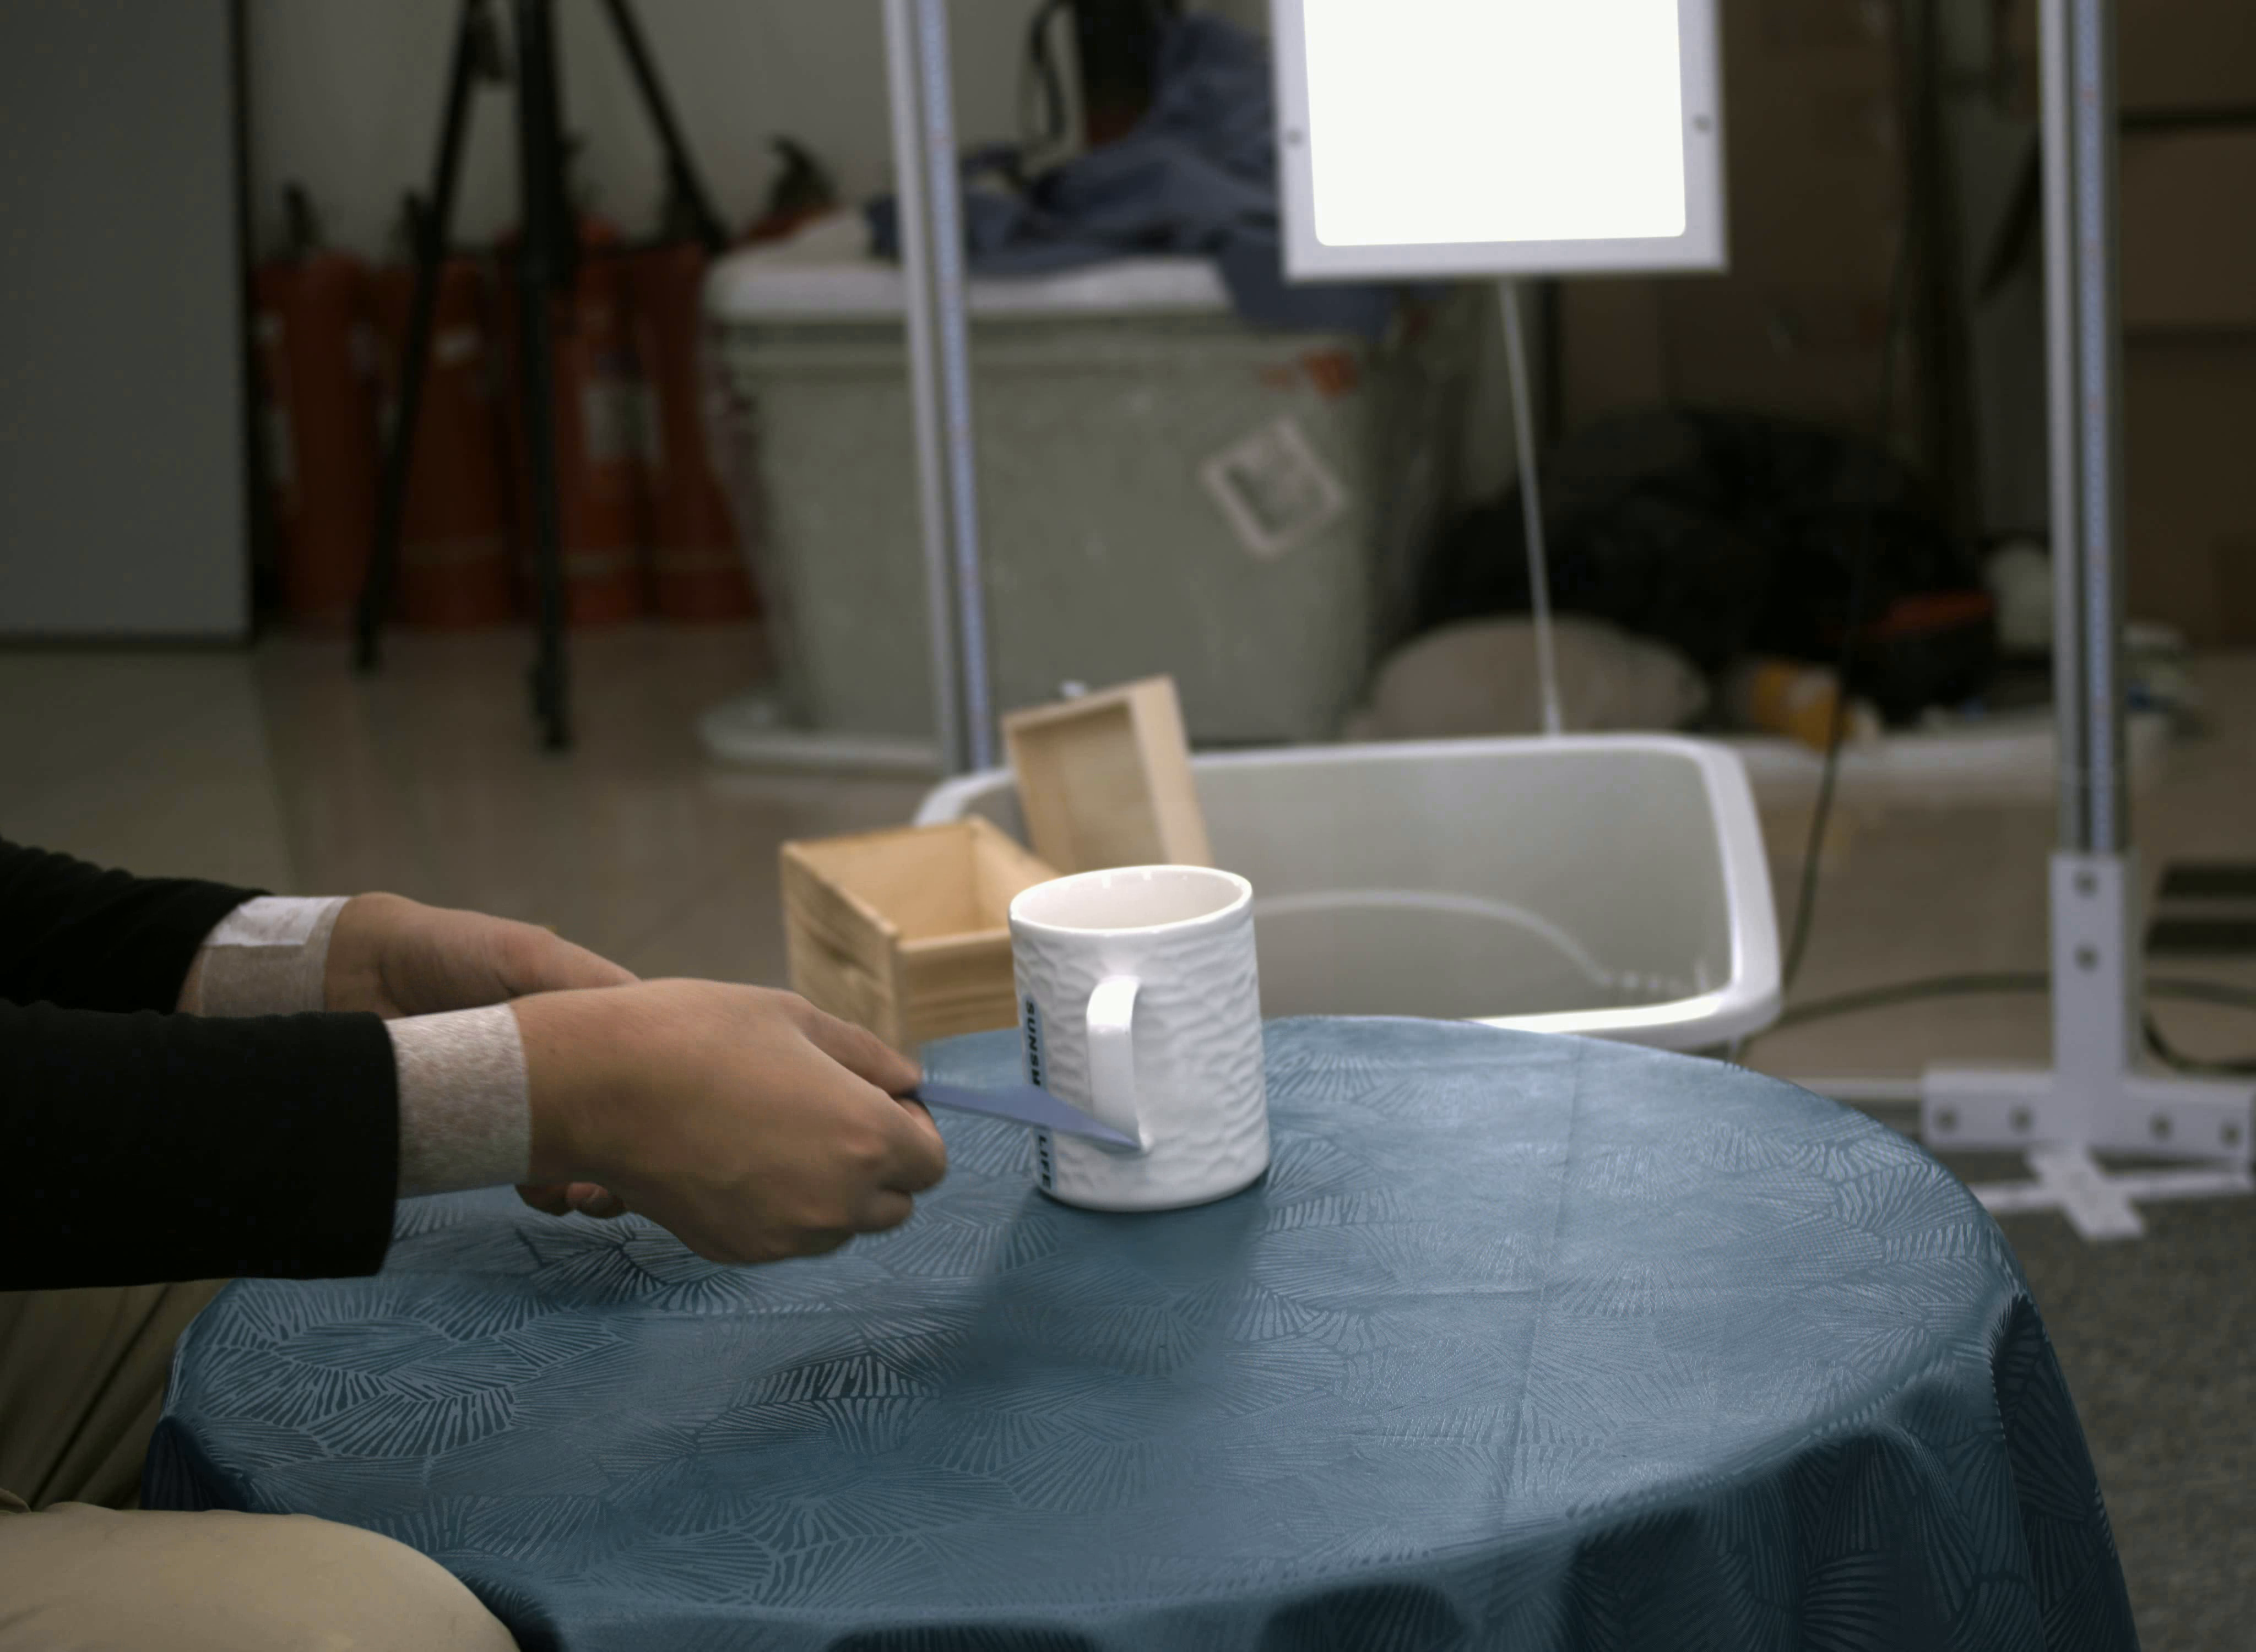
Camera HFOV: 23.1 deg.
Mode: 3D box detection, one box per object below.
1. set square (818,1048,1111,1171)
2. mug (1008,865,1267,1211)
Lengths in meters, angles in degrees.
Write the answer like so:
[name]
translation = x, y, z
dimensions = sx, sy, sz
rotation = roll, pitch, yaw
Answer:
[set square]
translation = -0.056, 0.090, 1.750
dimensions = 0.060, 0.006, 0.134
rotation = -4, 16, -26
[mug]
translation = 0.002, 0.077, 1.884
dimensions = 0.085, 0.102, 0.117
rotation = -2, 14, 9
